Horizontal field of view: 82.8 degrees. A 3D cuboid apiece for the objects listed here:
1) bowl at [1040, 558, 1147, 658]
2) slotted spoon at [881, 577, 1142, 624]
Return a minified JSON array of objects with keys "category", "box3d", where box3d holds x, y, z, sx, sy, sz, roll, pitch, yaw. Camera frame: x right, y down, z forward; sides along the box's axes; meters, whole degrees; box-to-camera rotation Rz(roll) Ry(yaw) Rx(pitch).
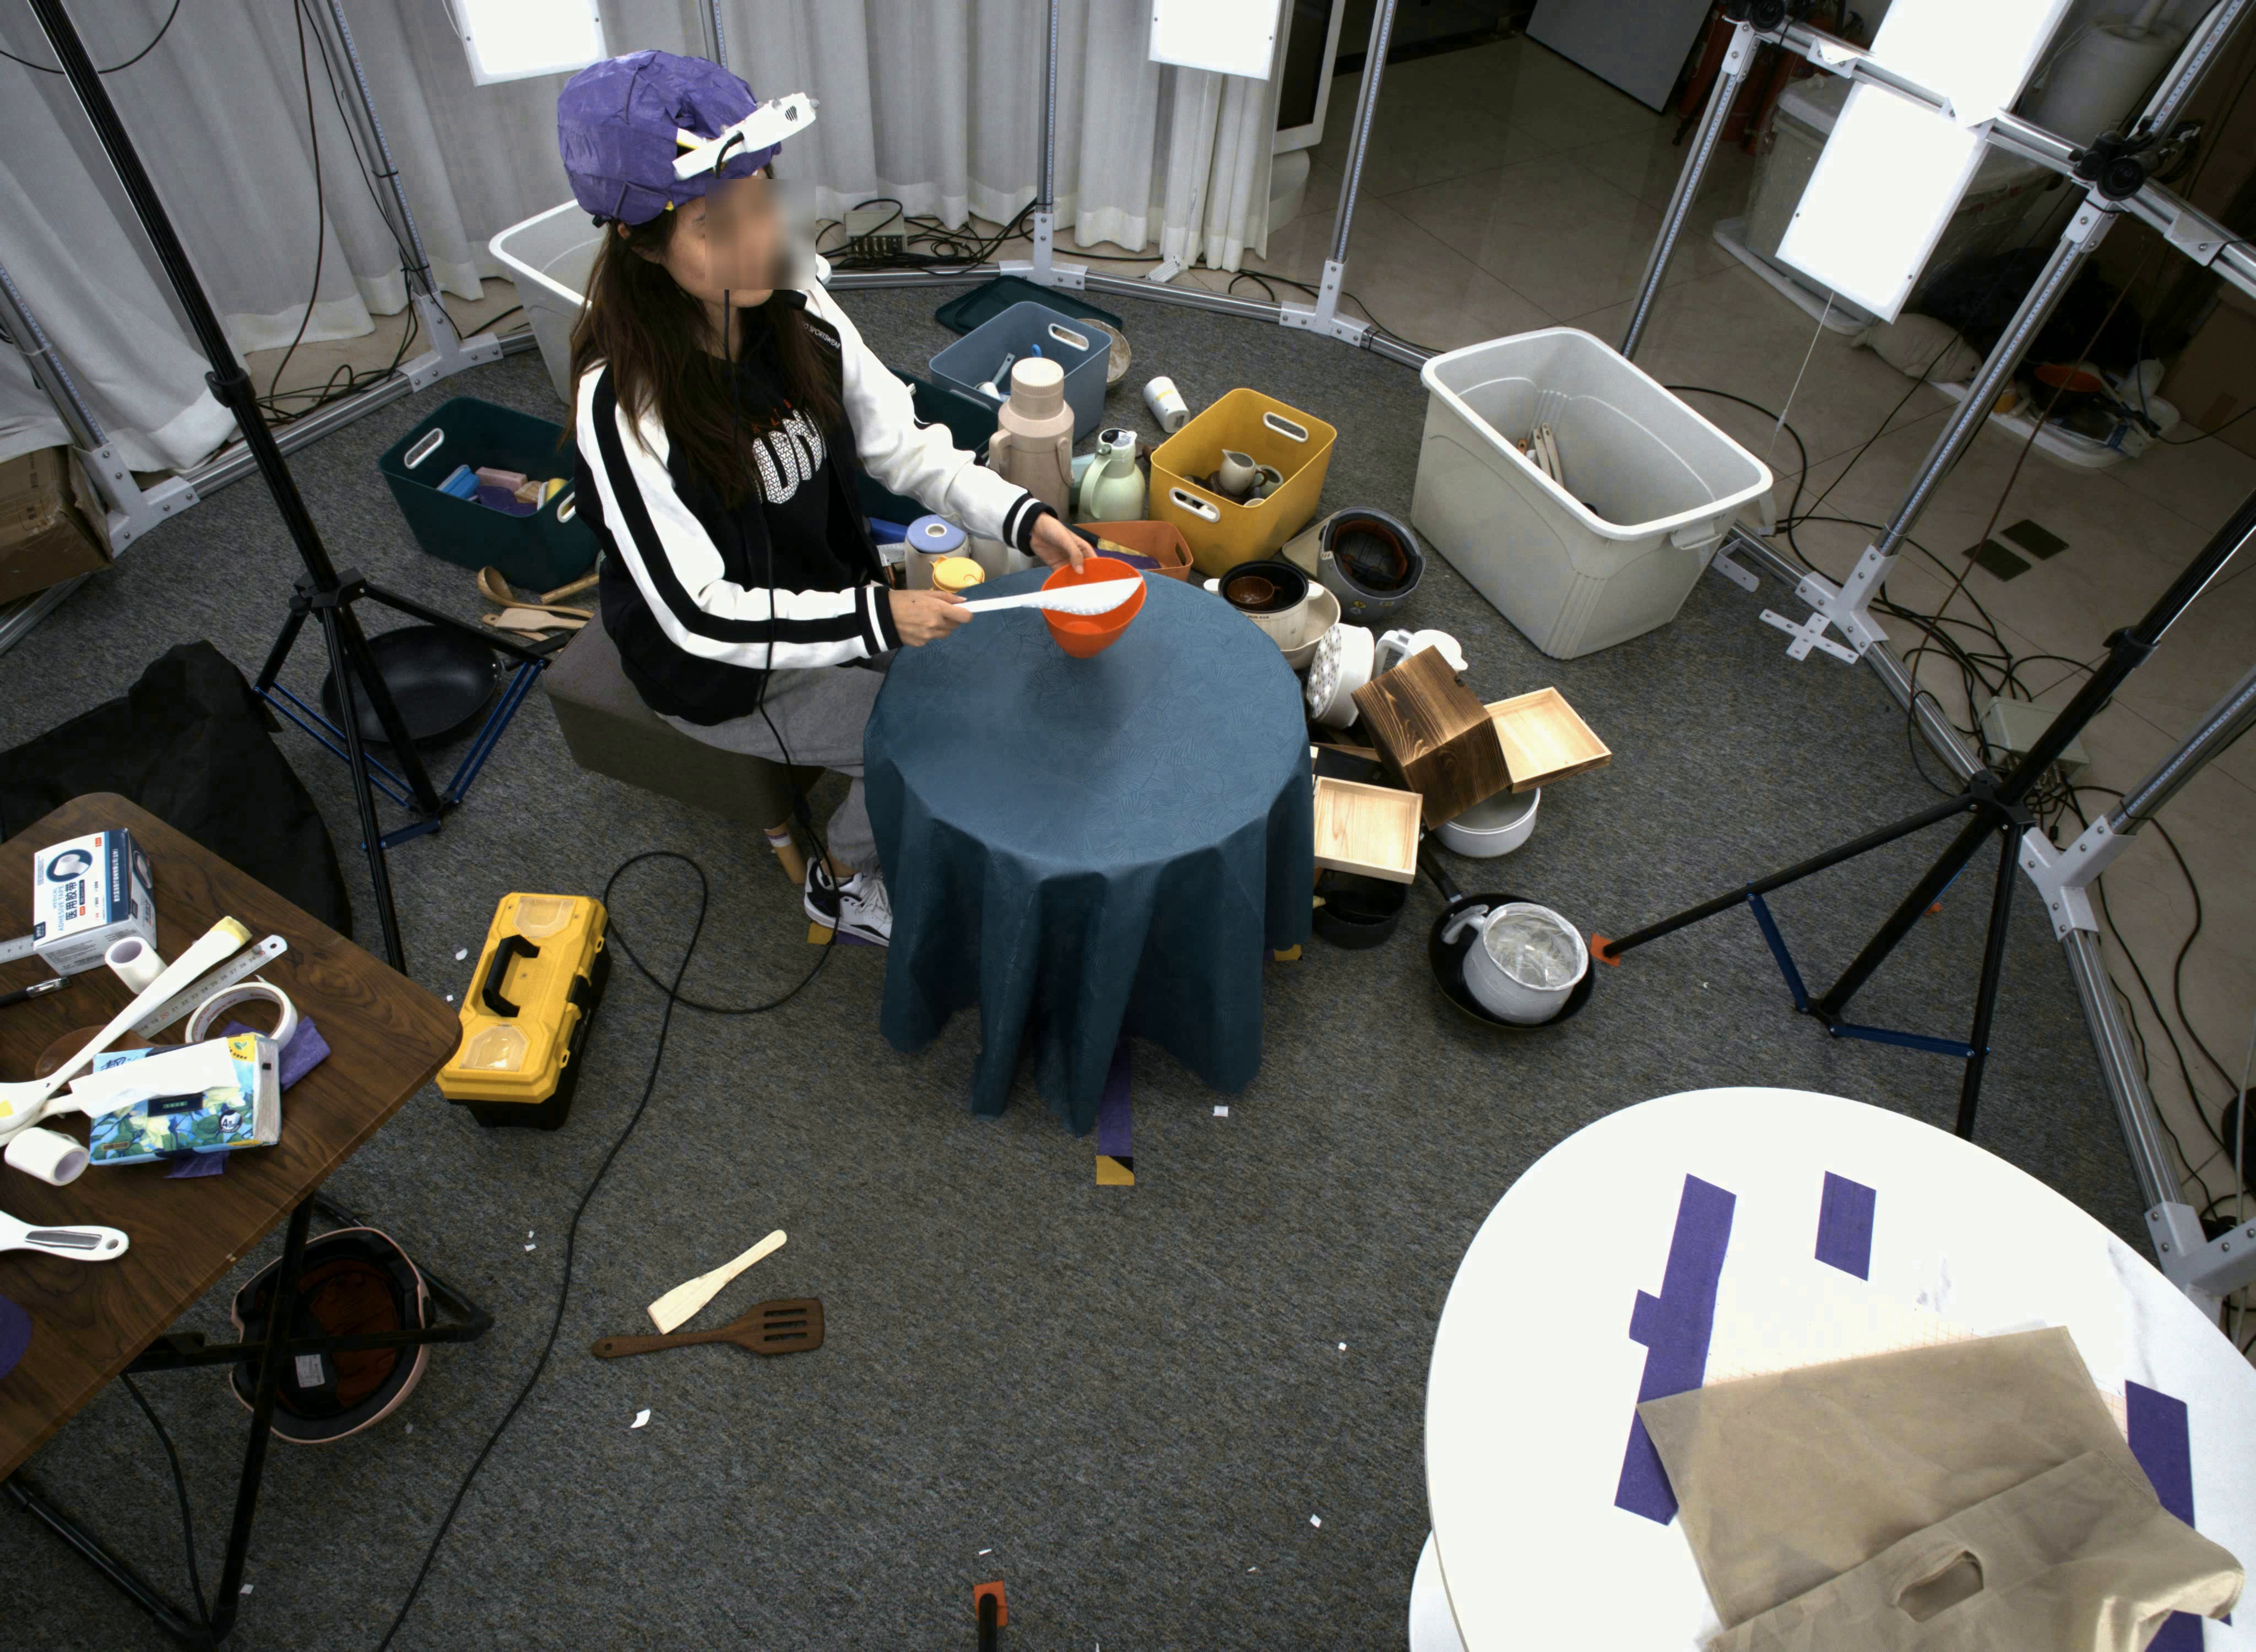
[{"category":"bowl","box3d":[-0.051,-0.296,1.815,0.148,0.102,0.151,2,55,-3]},{"category":"slotted spoon","box3d":[-0.154,-0.298,1.702,0.350,0.045,0.137,-2,10,7]}]
